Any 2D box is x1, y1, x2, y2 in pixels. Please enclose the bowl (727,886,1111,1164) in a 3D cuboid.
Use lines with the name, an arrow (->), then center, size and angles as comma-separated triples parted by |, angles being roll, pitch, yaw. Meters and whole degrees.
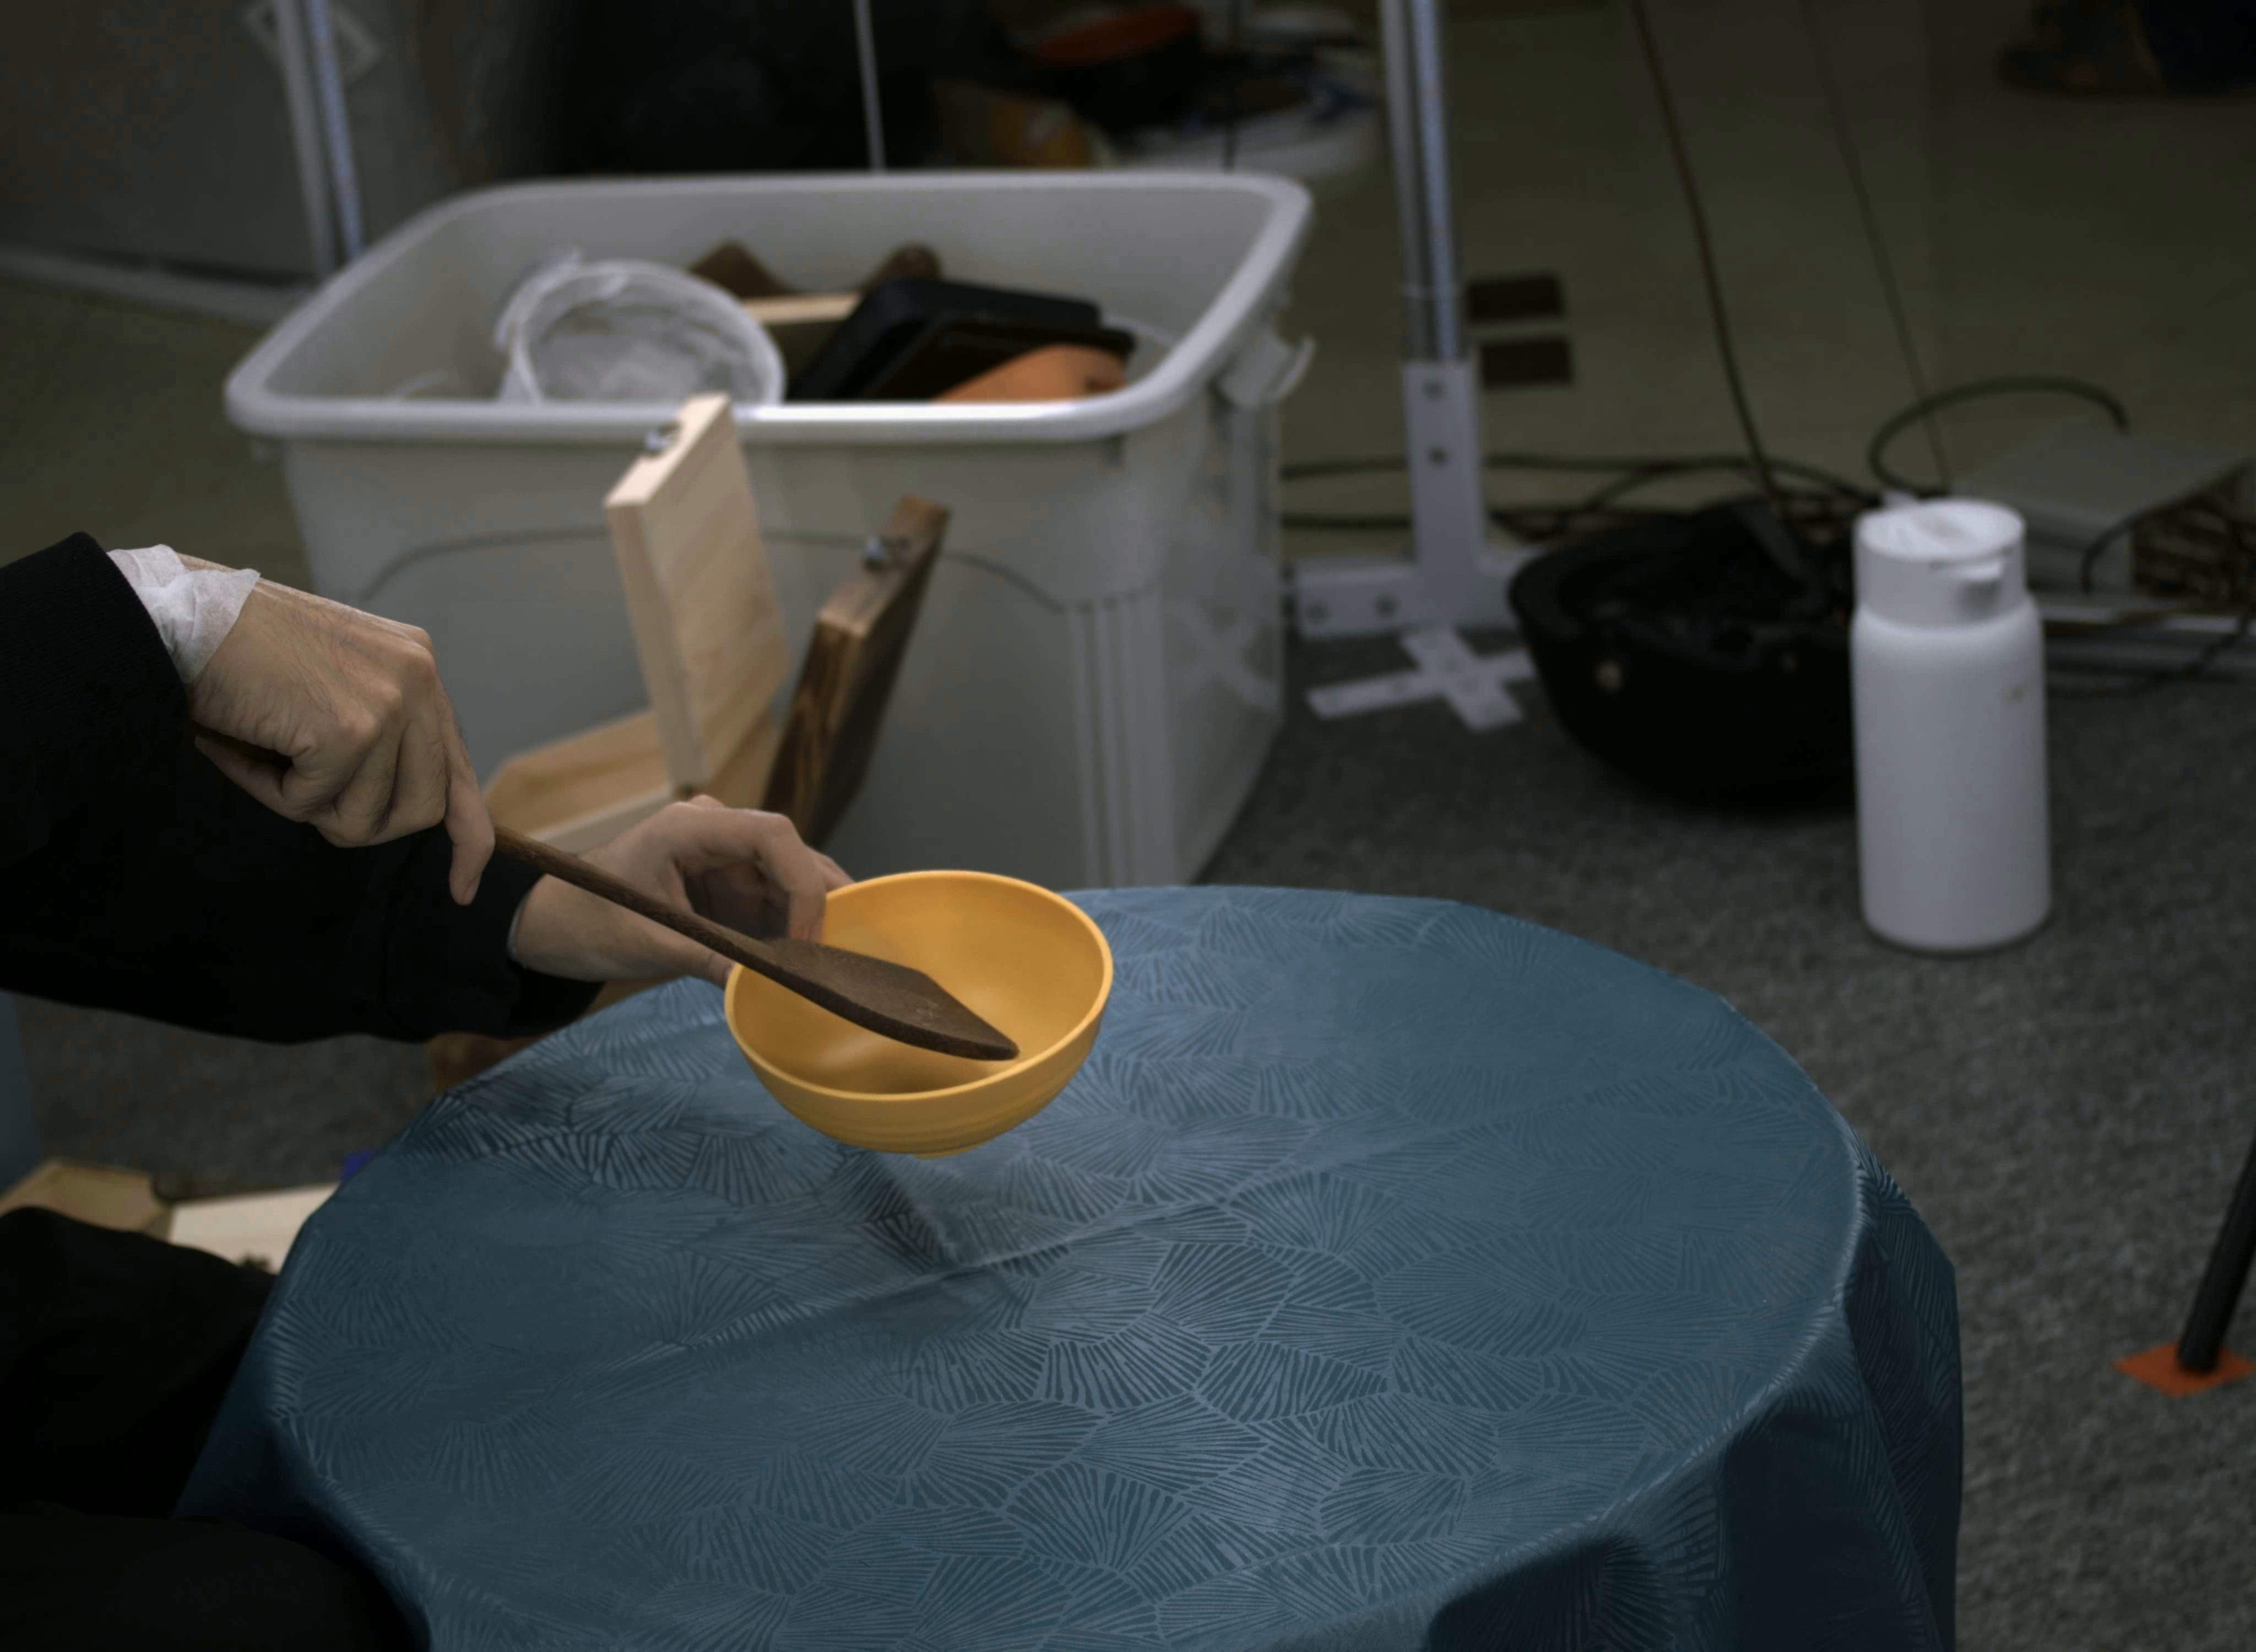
bowl -> -0.075, 0.084, 2.115 | 0.145, 0.061, 0.143 | -4, 32, 3

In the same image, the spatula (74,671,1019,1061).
spatula -> -0.202, 0.014, 2.006 | 0.388, 0.016, 0.095 | 24, 7, -33
